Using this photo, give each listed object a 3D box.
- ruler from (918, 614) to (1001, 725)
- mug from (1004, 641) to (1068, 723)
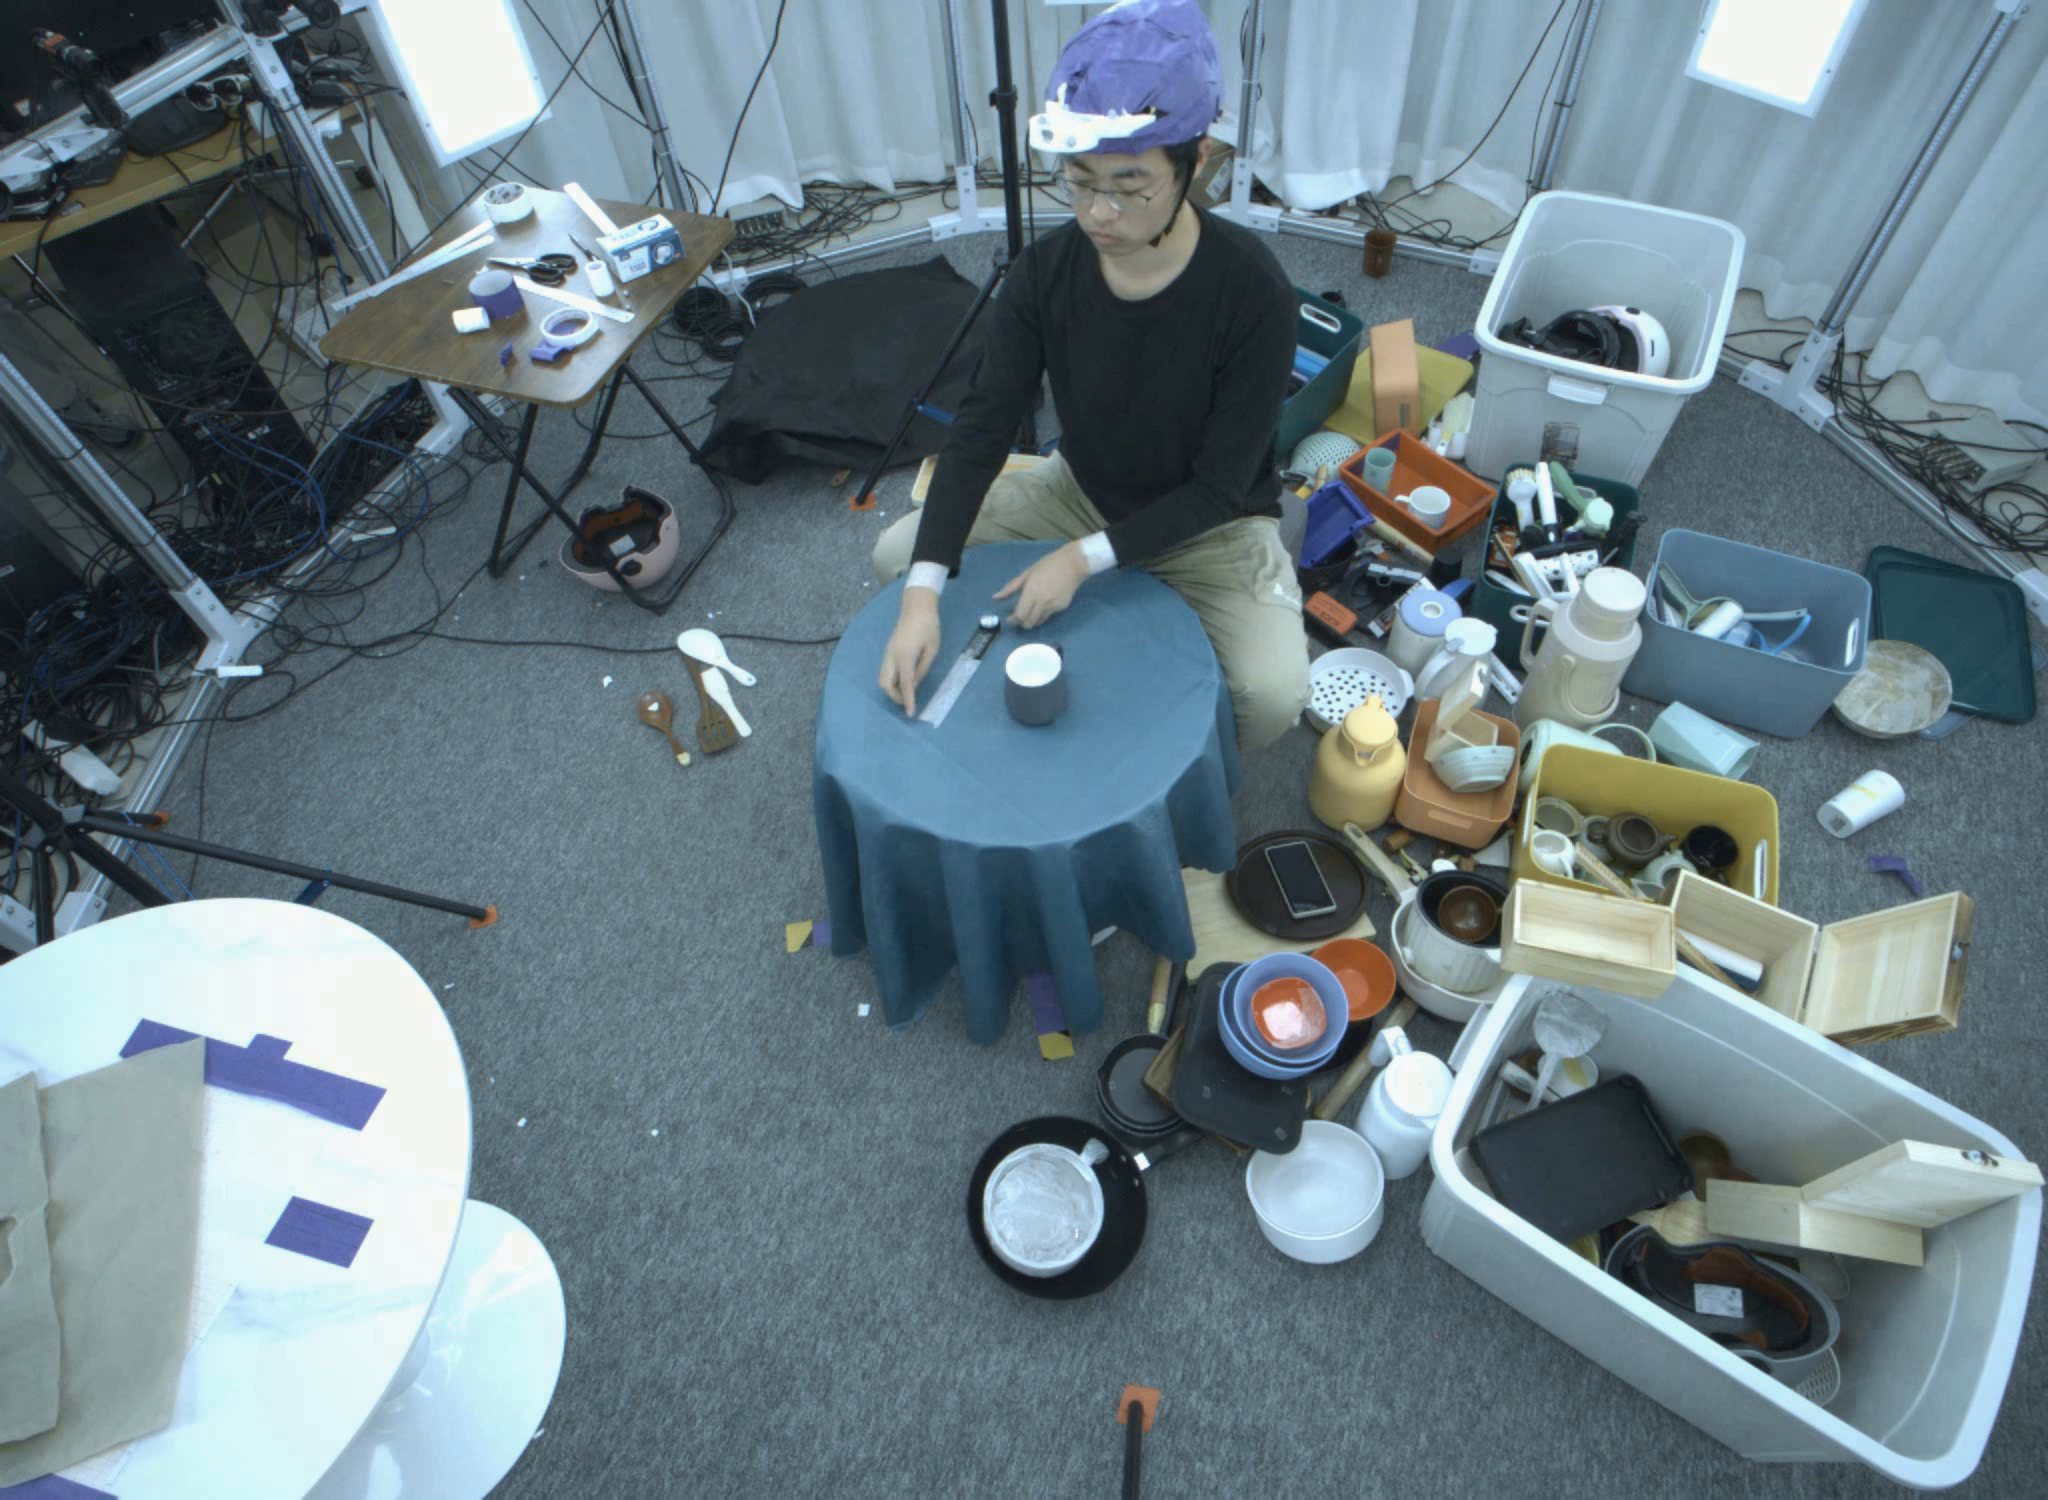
[{"bbox_3d":[-0.096,-0.127,1.867,0.037,0.024,0.218,16,55,23],"label":"ruler"},{"bbox_3d":[0.024,-0.108,1.806,0.092,0.091,0.123,24,60,18],"label":"mug"}]
